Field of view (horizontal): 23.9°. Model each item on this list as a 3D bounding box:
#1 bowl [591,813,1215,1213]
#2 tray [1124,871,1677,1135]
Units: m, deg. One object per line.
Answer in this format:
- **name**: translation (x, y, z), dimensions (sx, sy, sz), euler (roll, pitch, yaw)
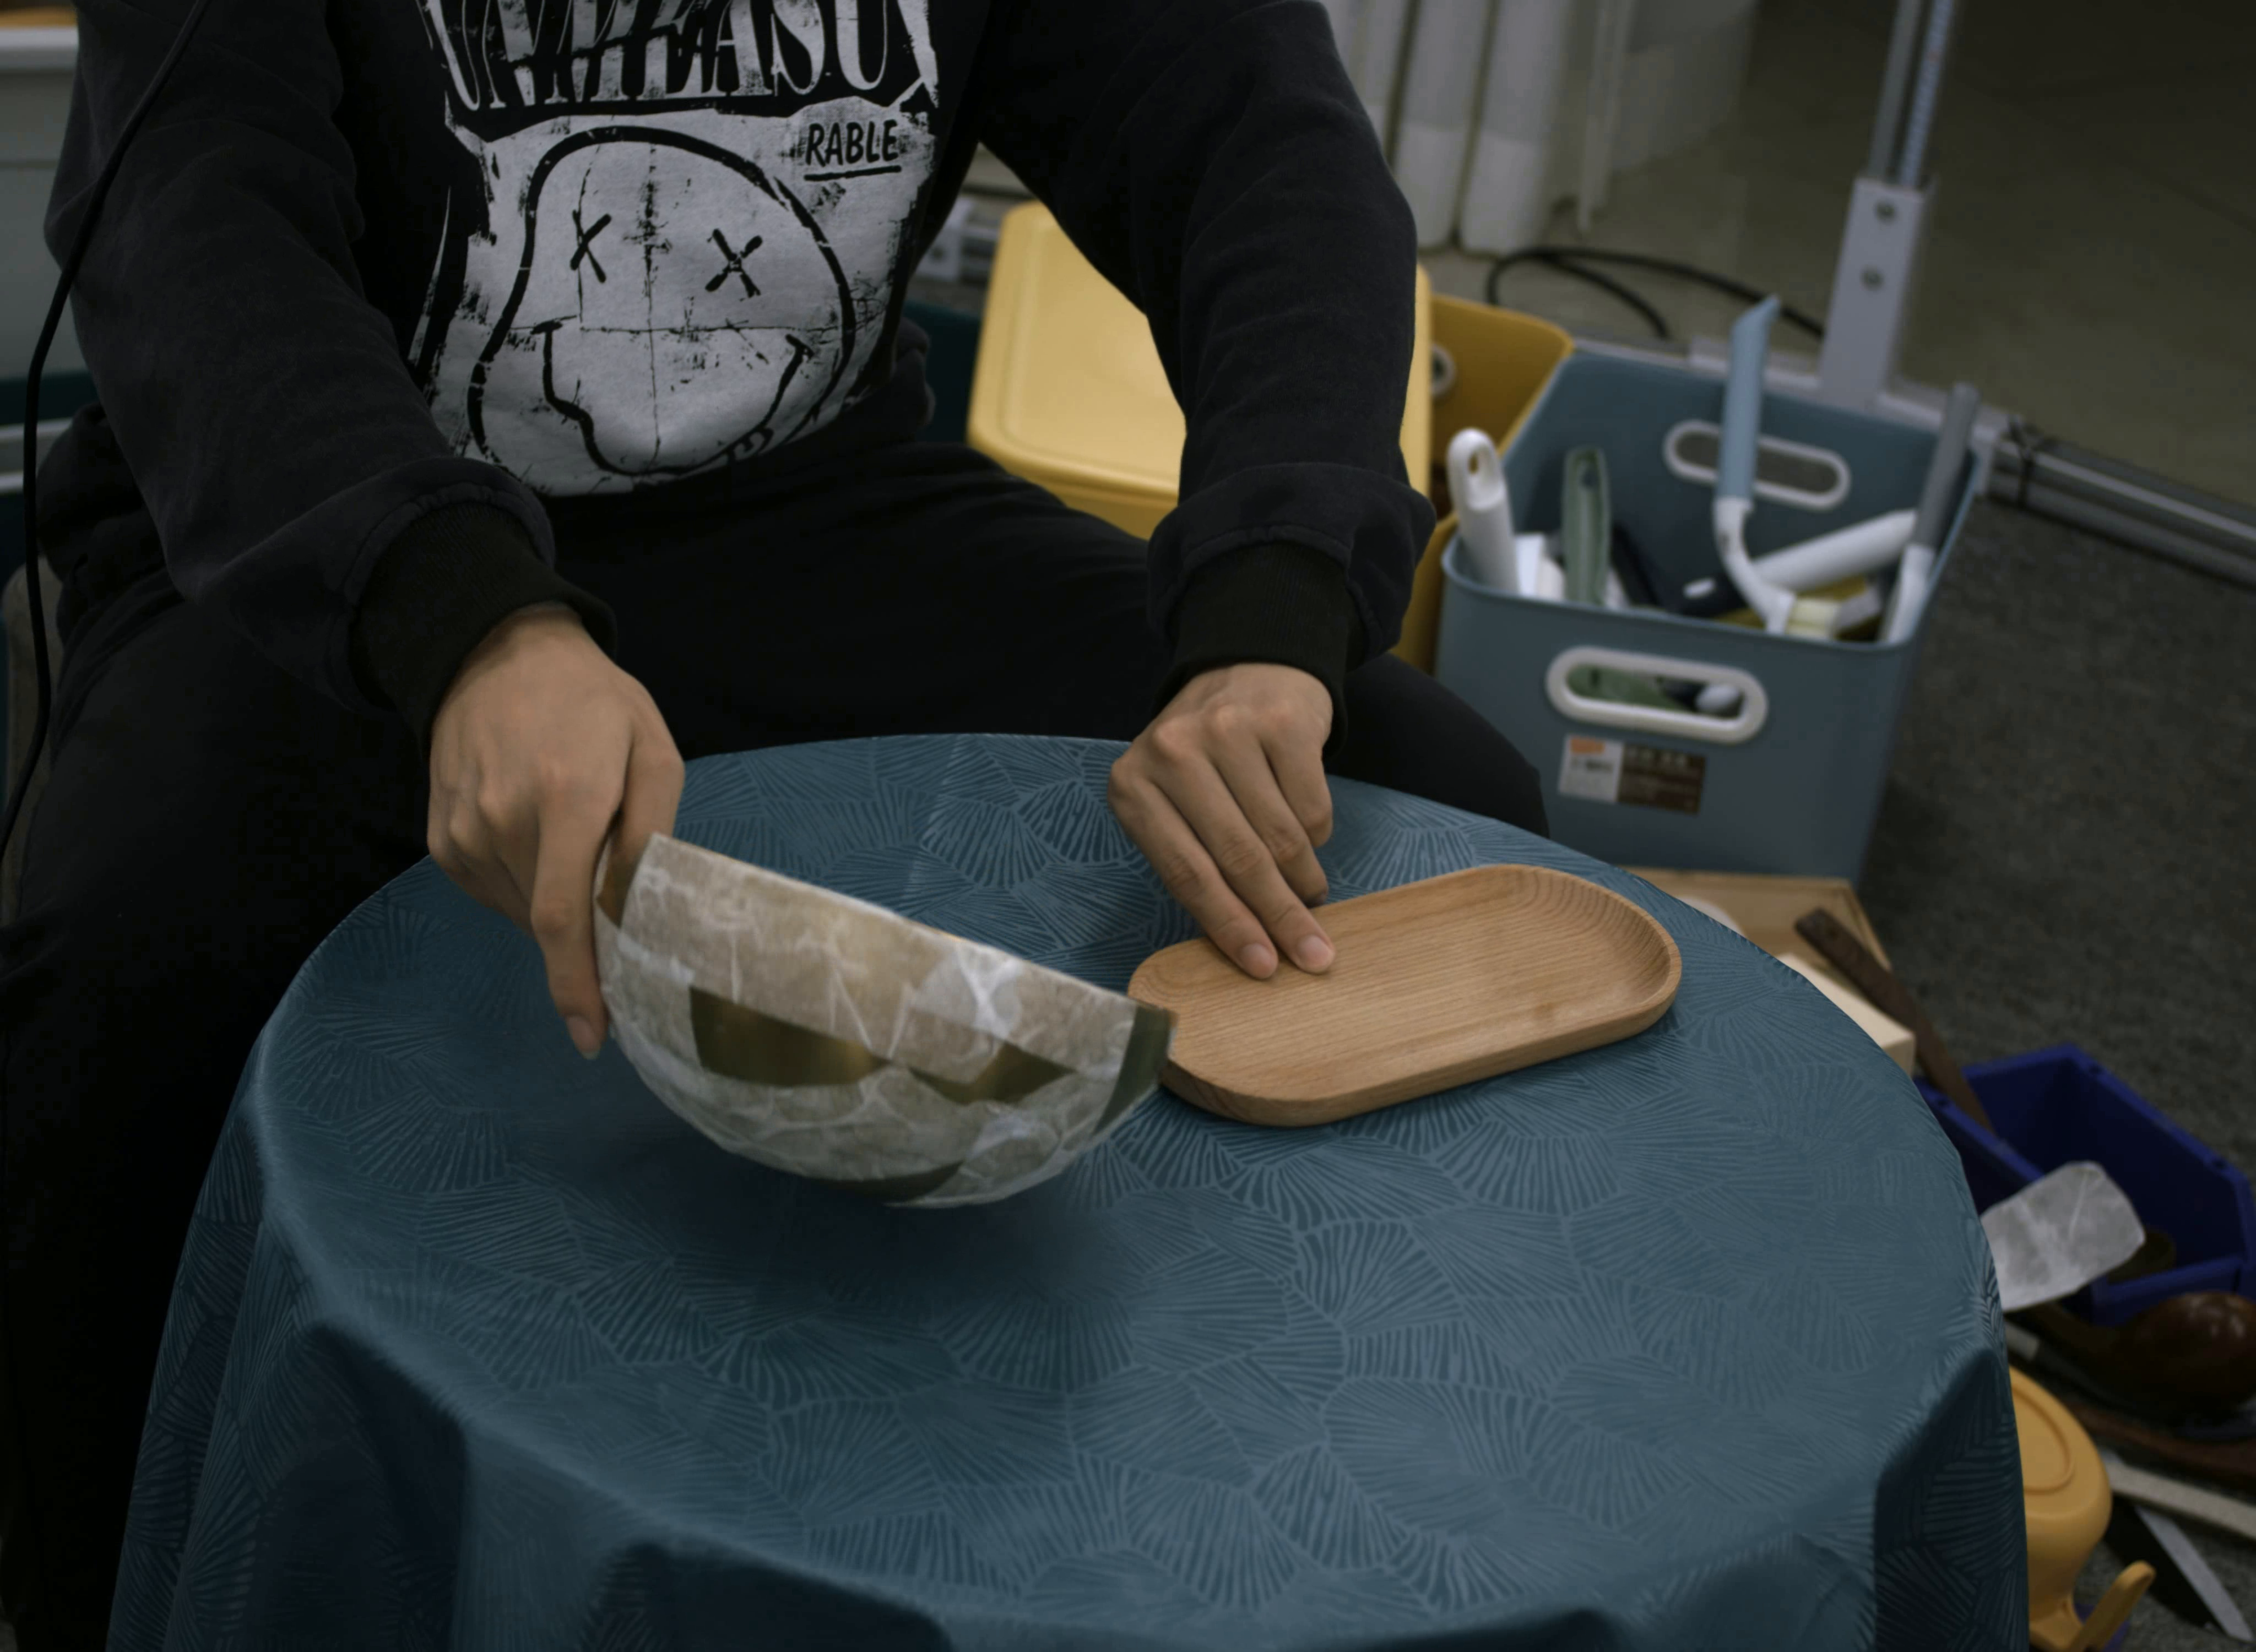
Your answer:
- **bowl**: translation (-0.087, 0.073, 1.743), dimensions (0.214, 0.095, 0.214), euler (18, -1, 0)
- **tray**: translation (0.099, 0.063, 1.918), dimensions (0.230, 0.020, 0.102), euler (-16, 37, -34)
